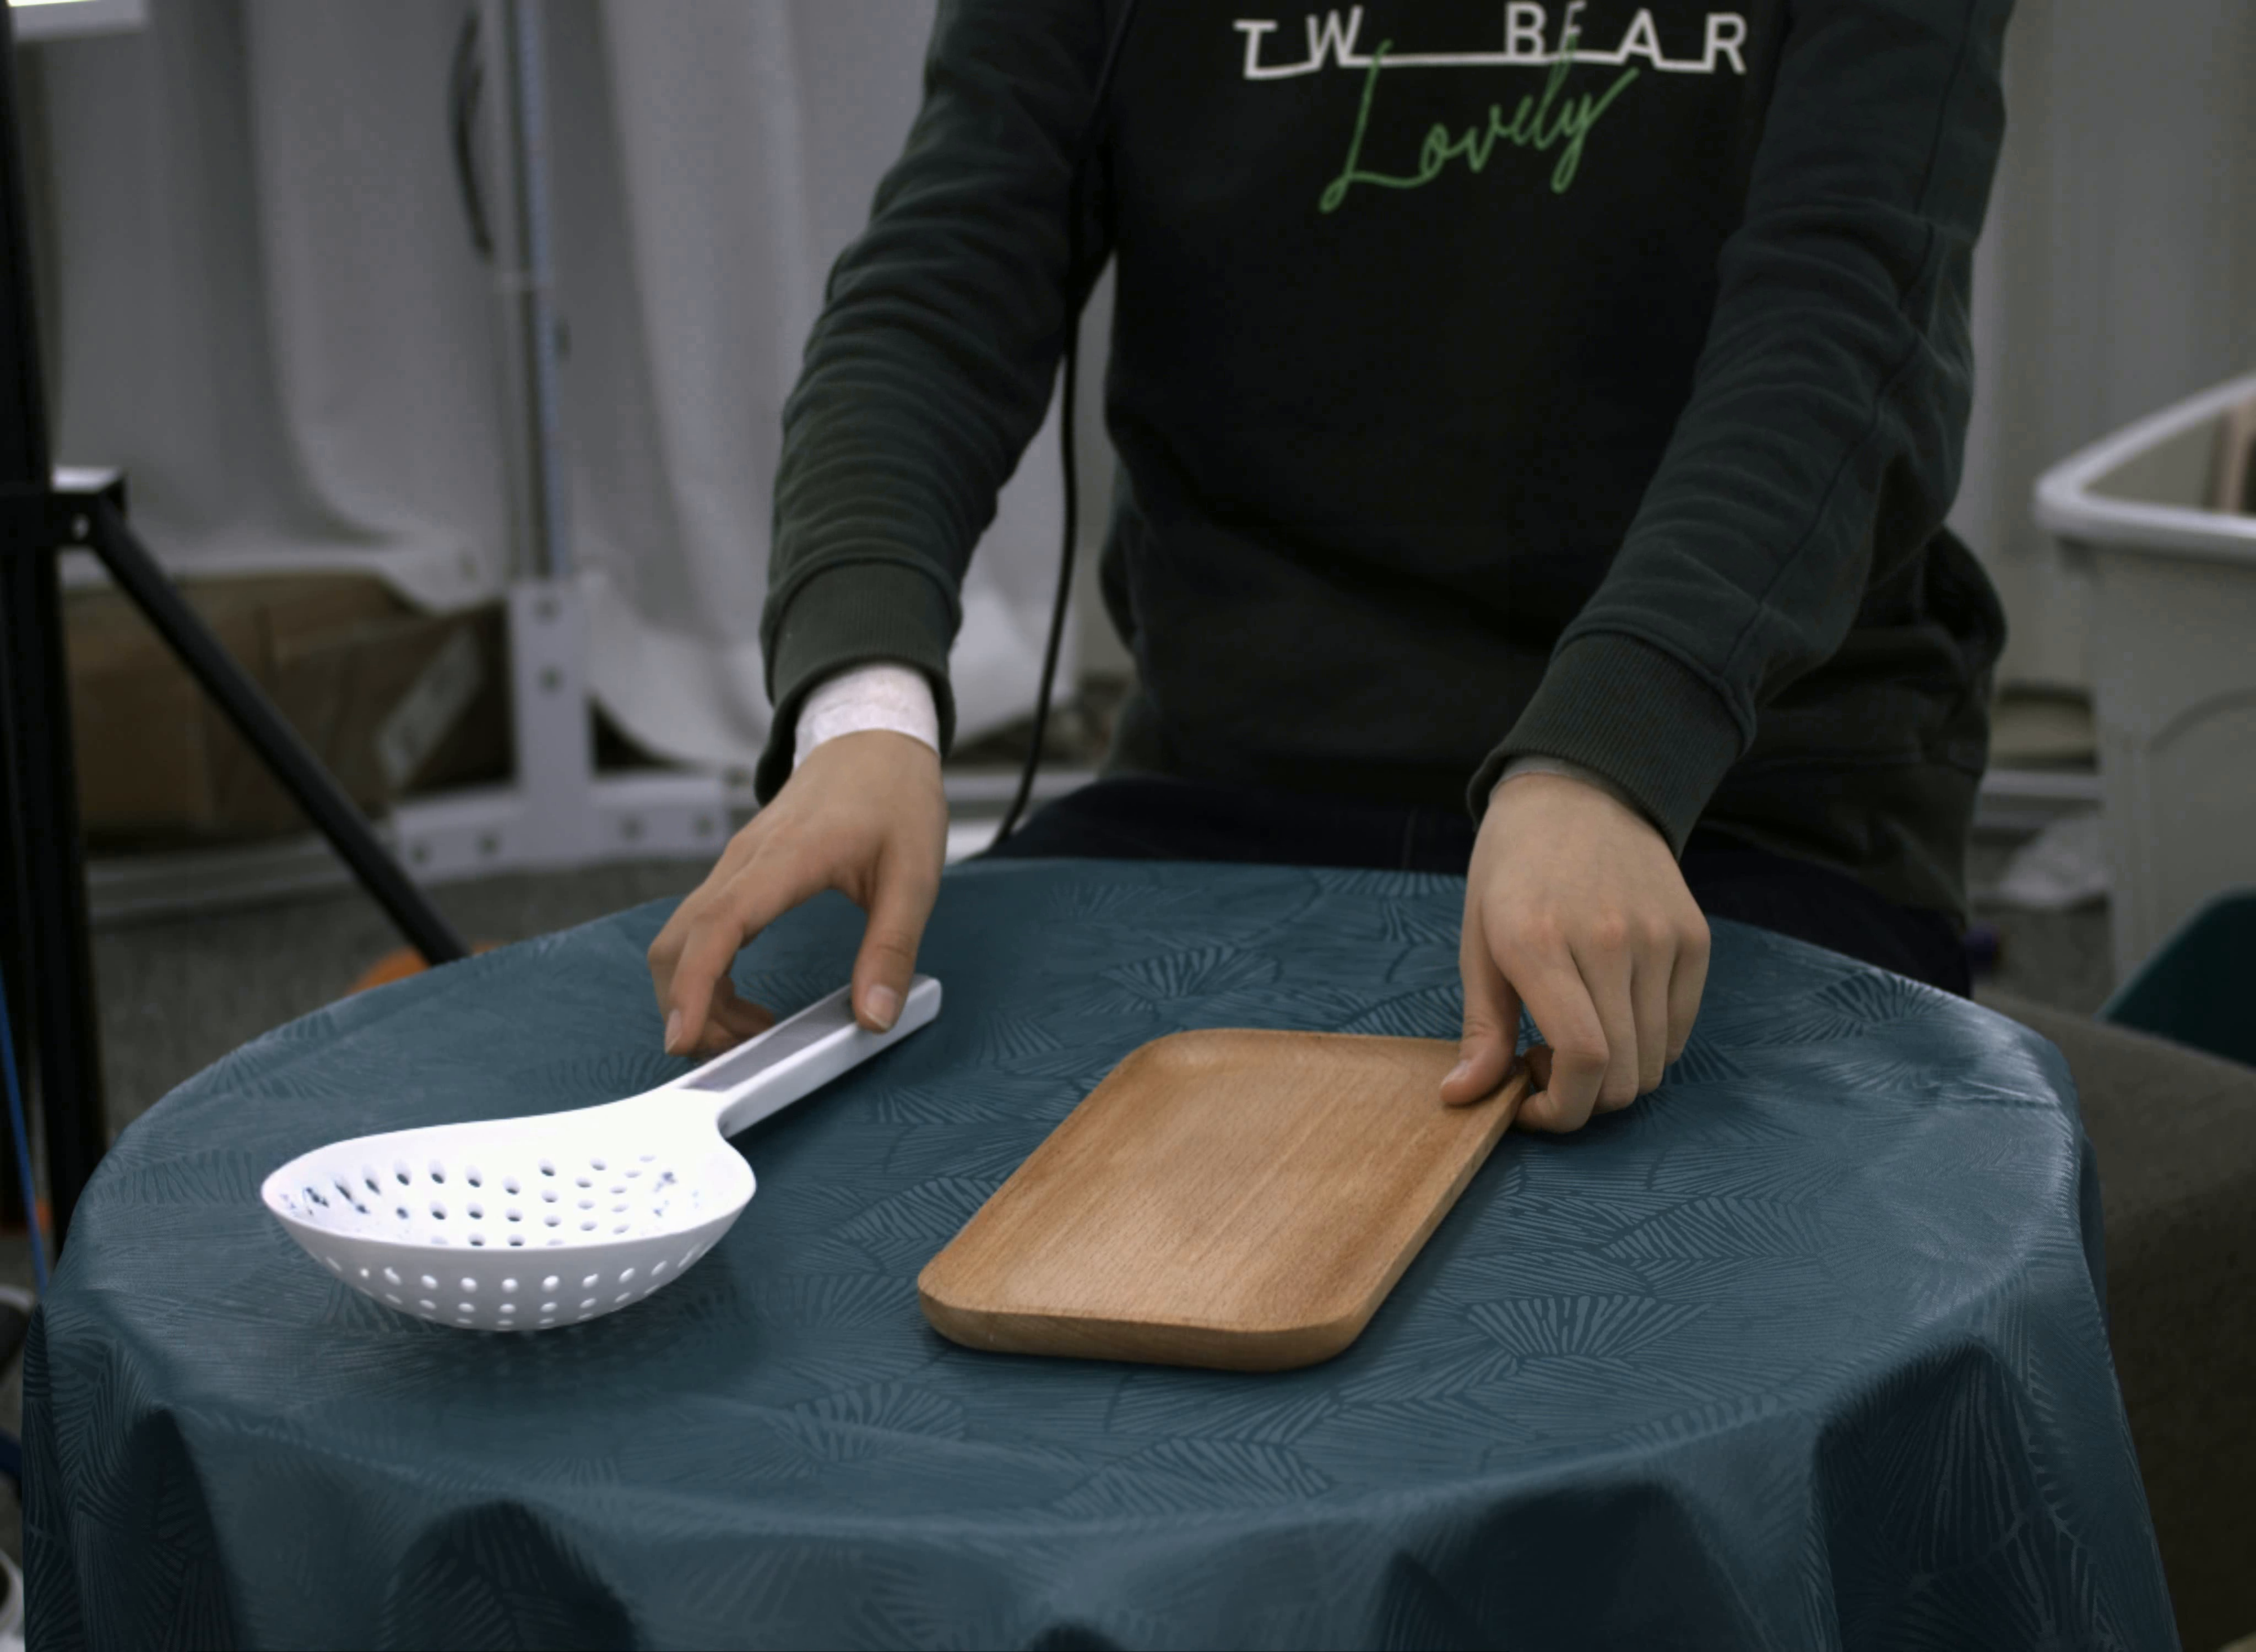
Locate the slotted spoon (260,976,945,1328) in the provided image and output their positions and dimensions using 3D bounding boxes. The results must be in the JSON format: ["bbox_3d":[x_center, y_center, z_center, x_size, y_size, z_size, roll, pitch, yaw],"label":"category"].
[{"bbox_3d":[-0.133,0.086,1.573,0.138,0.046,0.345,6,17,21],"label":"slotted spoon"}]

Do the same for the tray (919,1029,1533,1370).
[{"bbox_3d":[0.033,0.105,1.533,0.132,0.023,0.248,5,16,18],"label":"tray"}]
